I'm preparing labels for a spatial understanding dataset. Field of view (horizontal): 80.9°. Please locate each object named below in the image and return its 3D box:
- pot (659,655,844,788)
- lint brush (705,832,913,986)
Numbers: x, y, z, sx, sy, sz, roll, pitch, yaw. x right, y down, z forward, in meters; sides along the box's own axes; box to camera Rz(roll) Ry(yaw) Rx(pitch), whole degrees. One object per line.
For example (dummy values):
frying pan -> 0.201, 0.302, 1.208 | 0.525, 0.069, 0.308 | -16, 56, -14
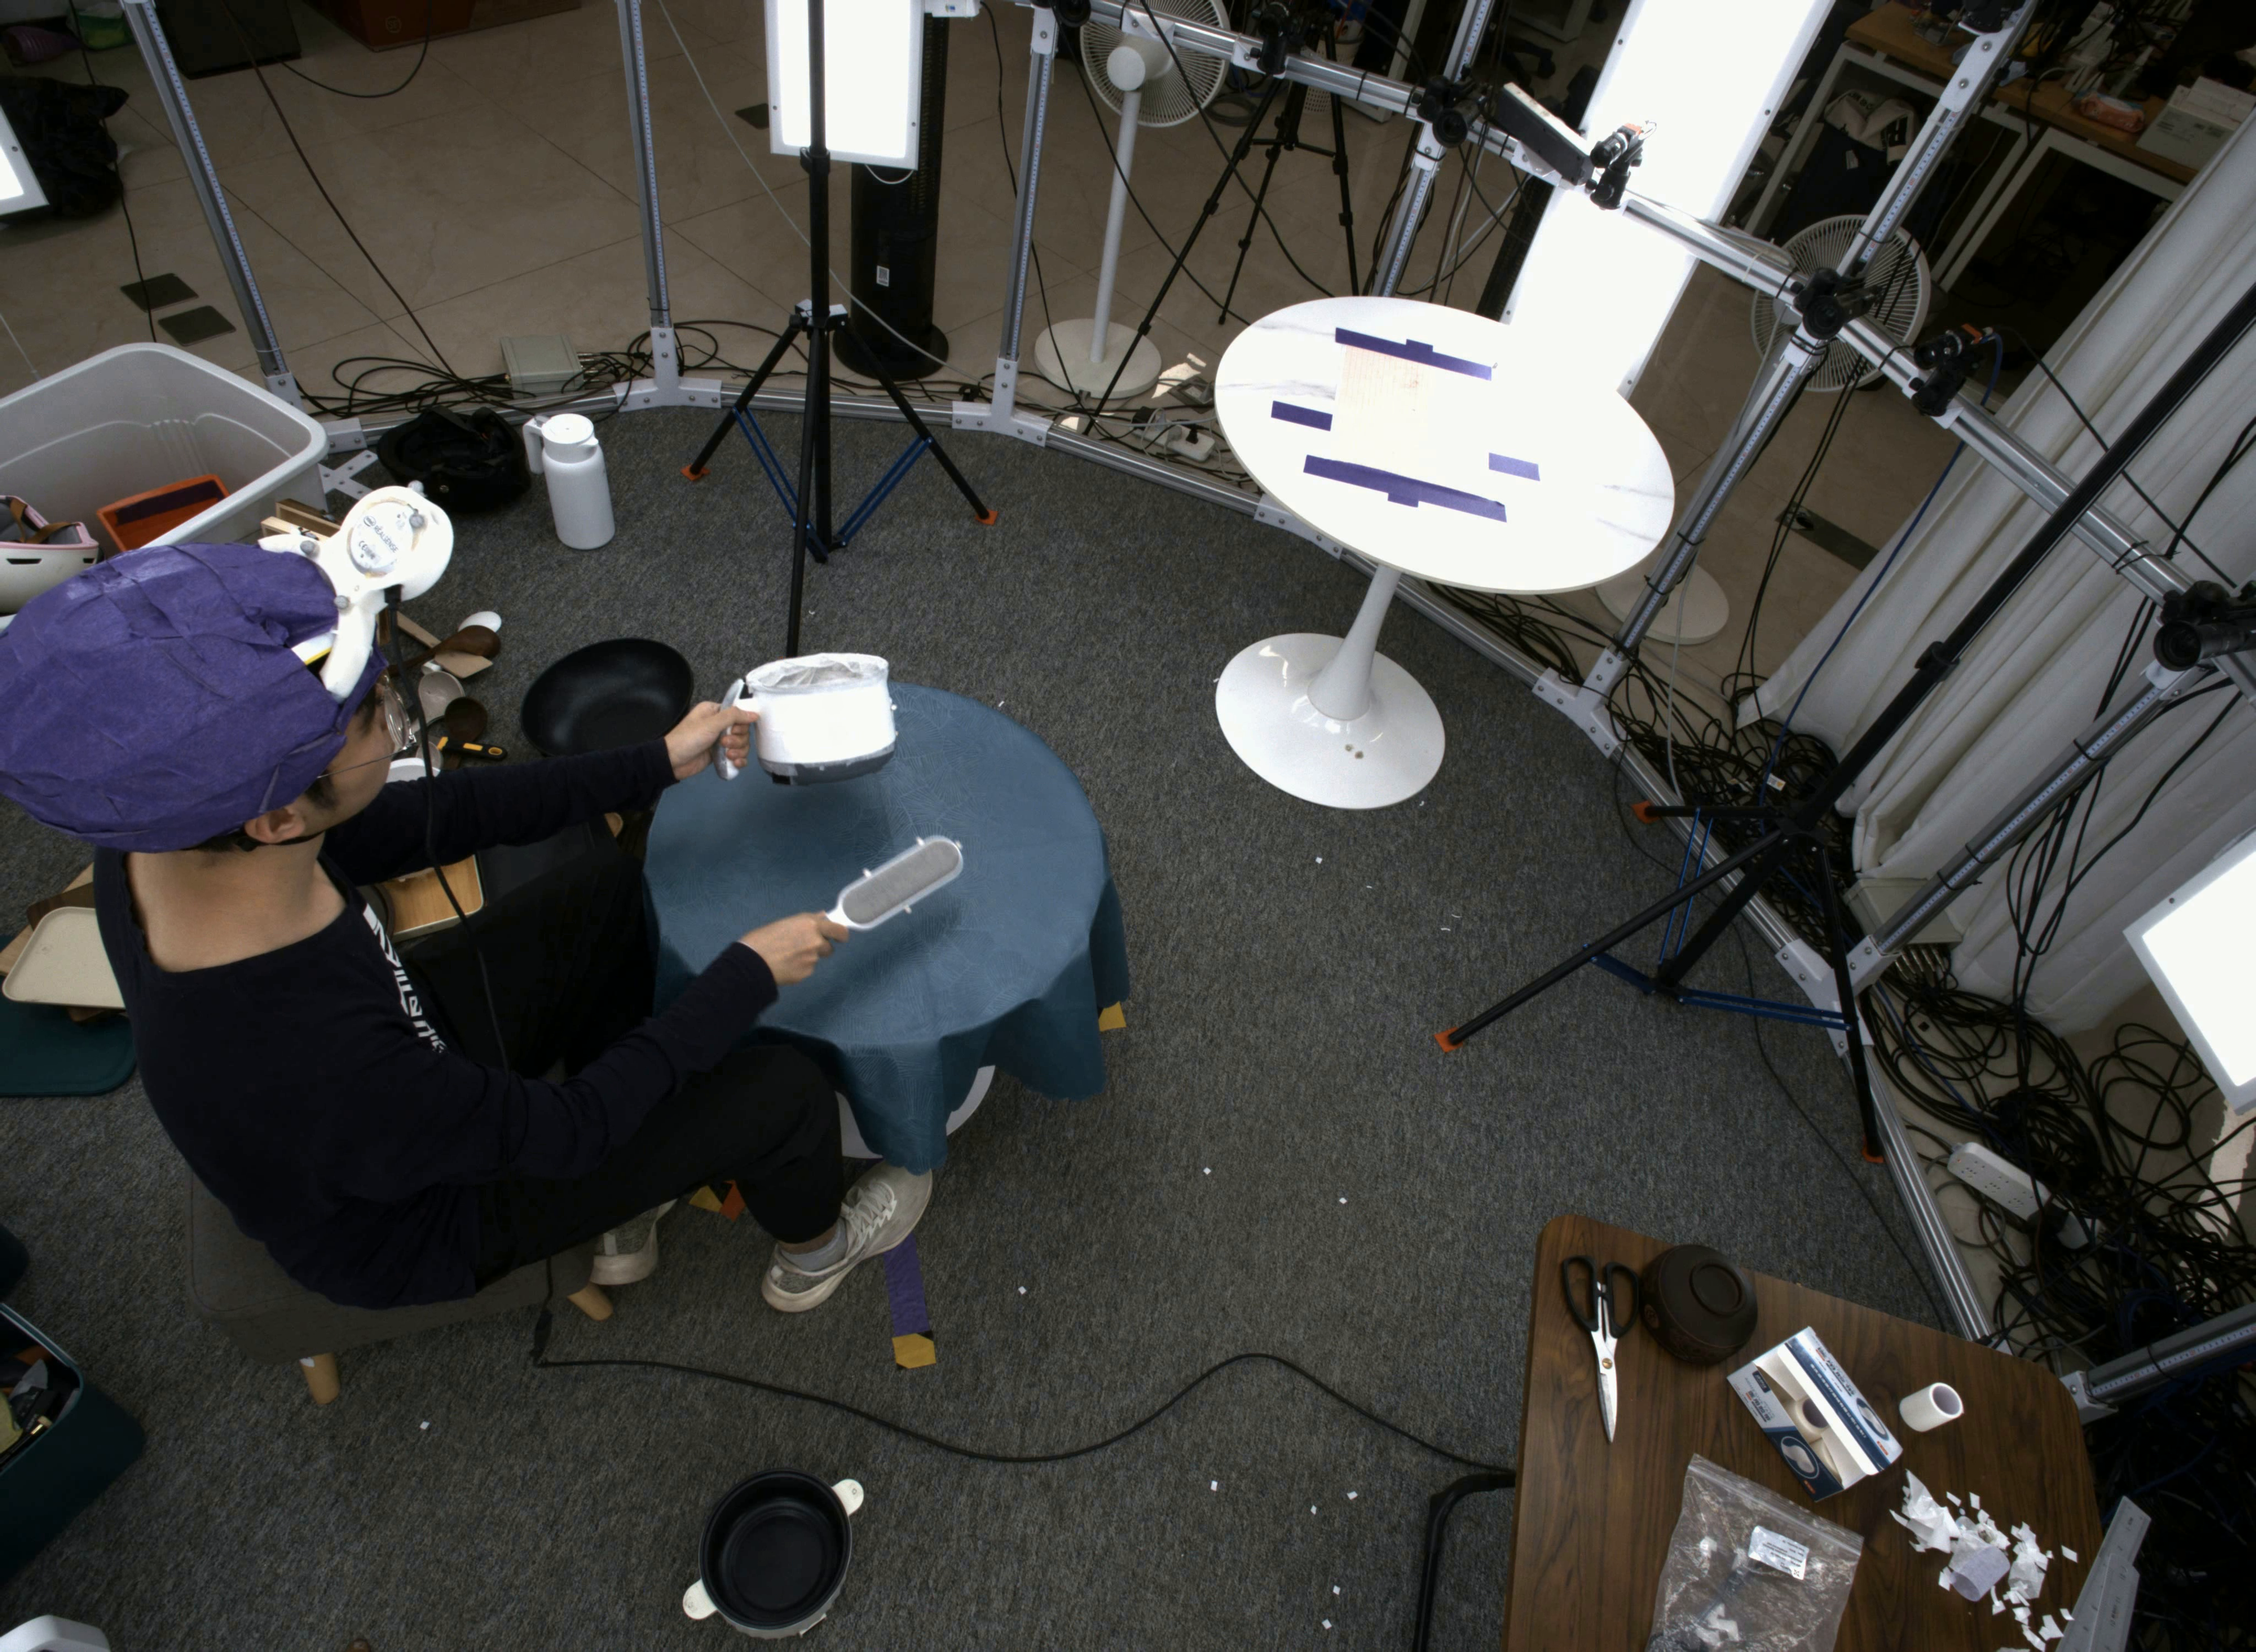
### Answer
pot -> -0.475, -0.128, 1.615 | 0.235, 0.140, 0.172 | -16, 19, -30
lint brush -> -0.380, 0.096, 1.558 | 0.309, 0.020, 0.060 | -38, 95, -35
